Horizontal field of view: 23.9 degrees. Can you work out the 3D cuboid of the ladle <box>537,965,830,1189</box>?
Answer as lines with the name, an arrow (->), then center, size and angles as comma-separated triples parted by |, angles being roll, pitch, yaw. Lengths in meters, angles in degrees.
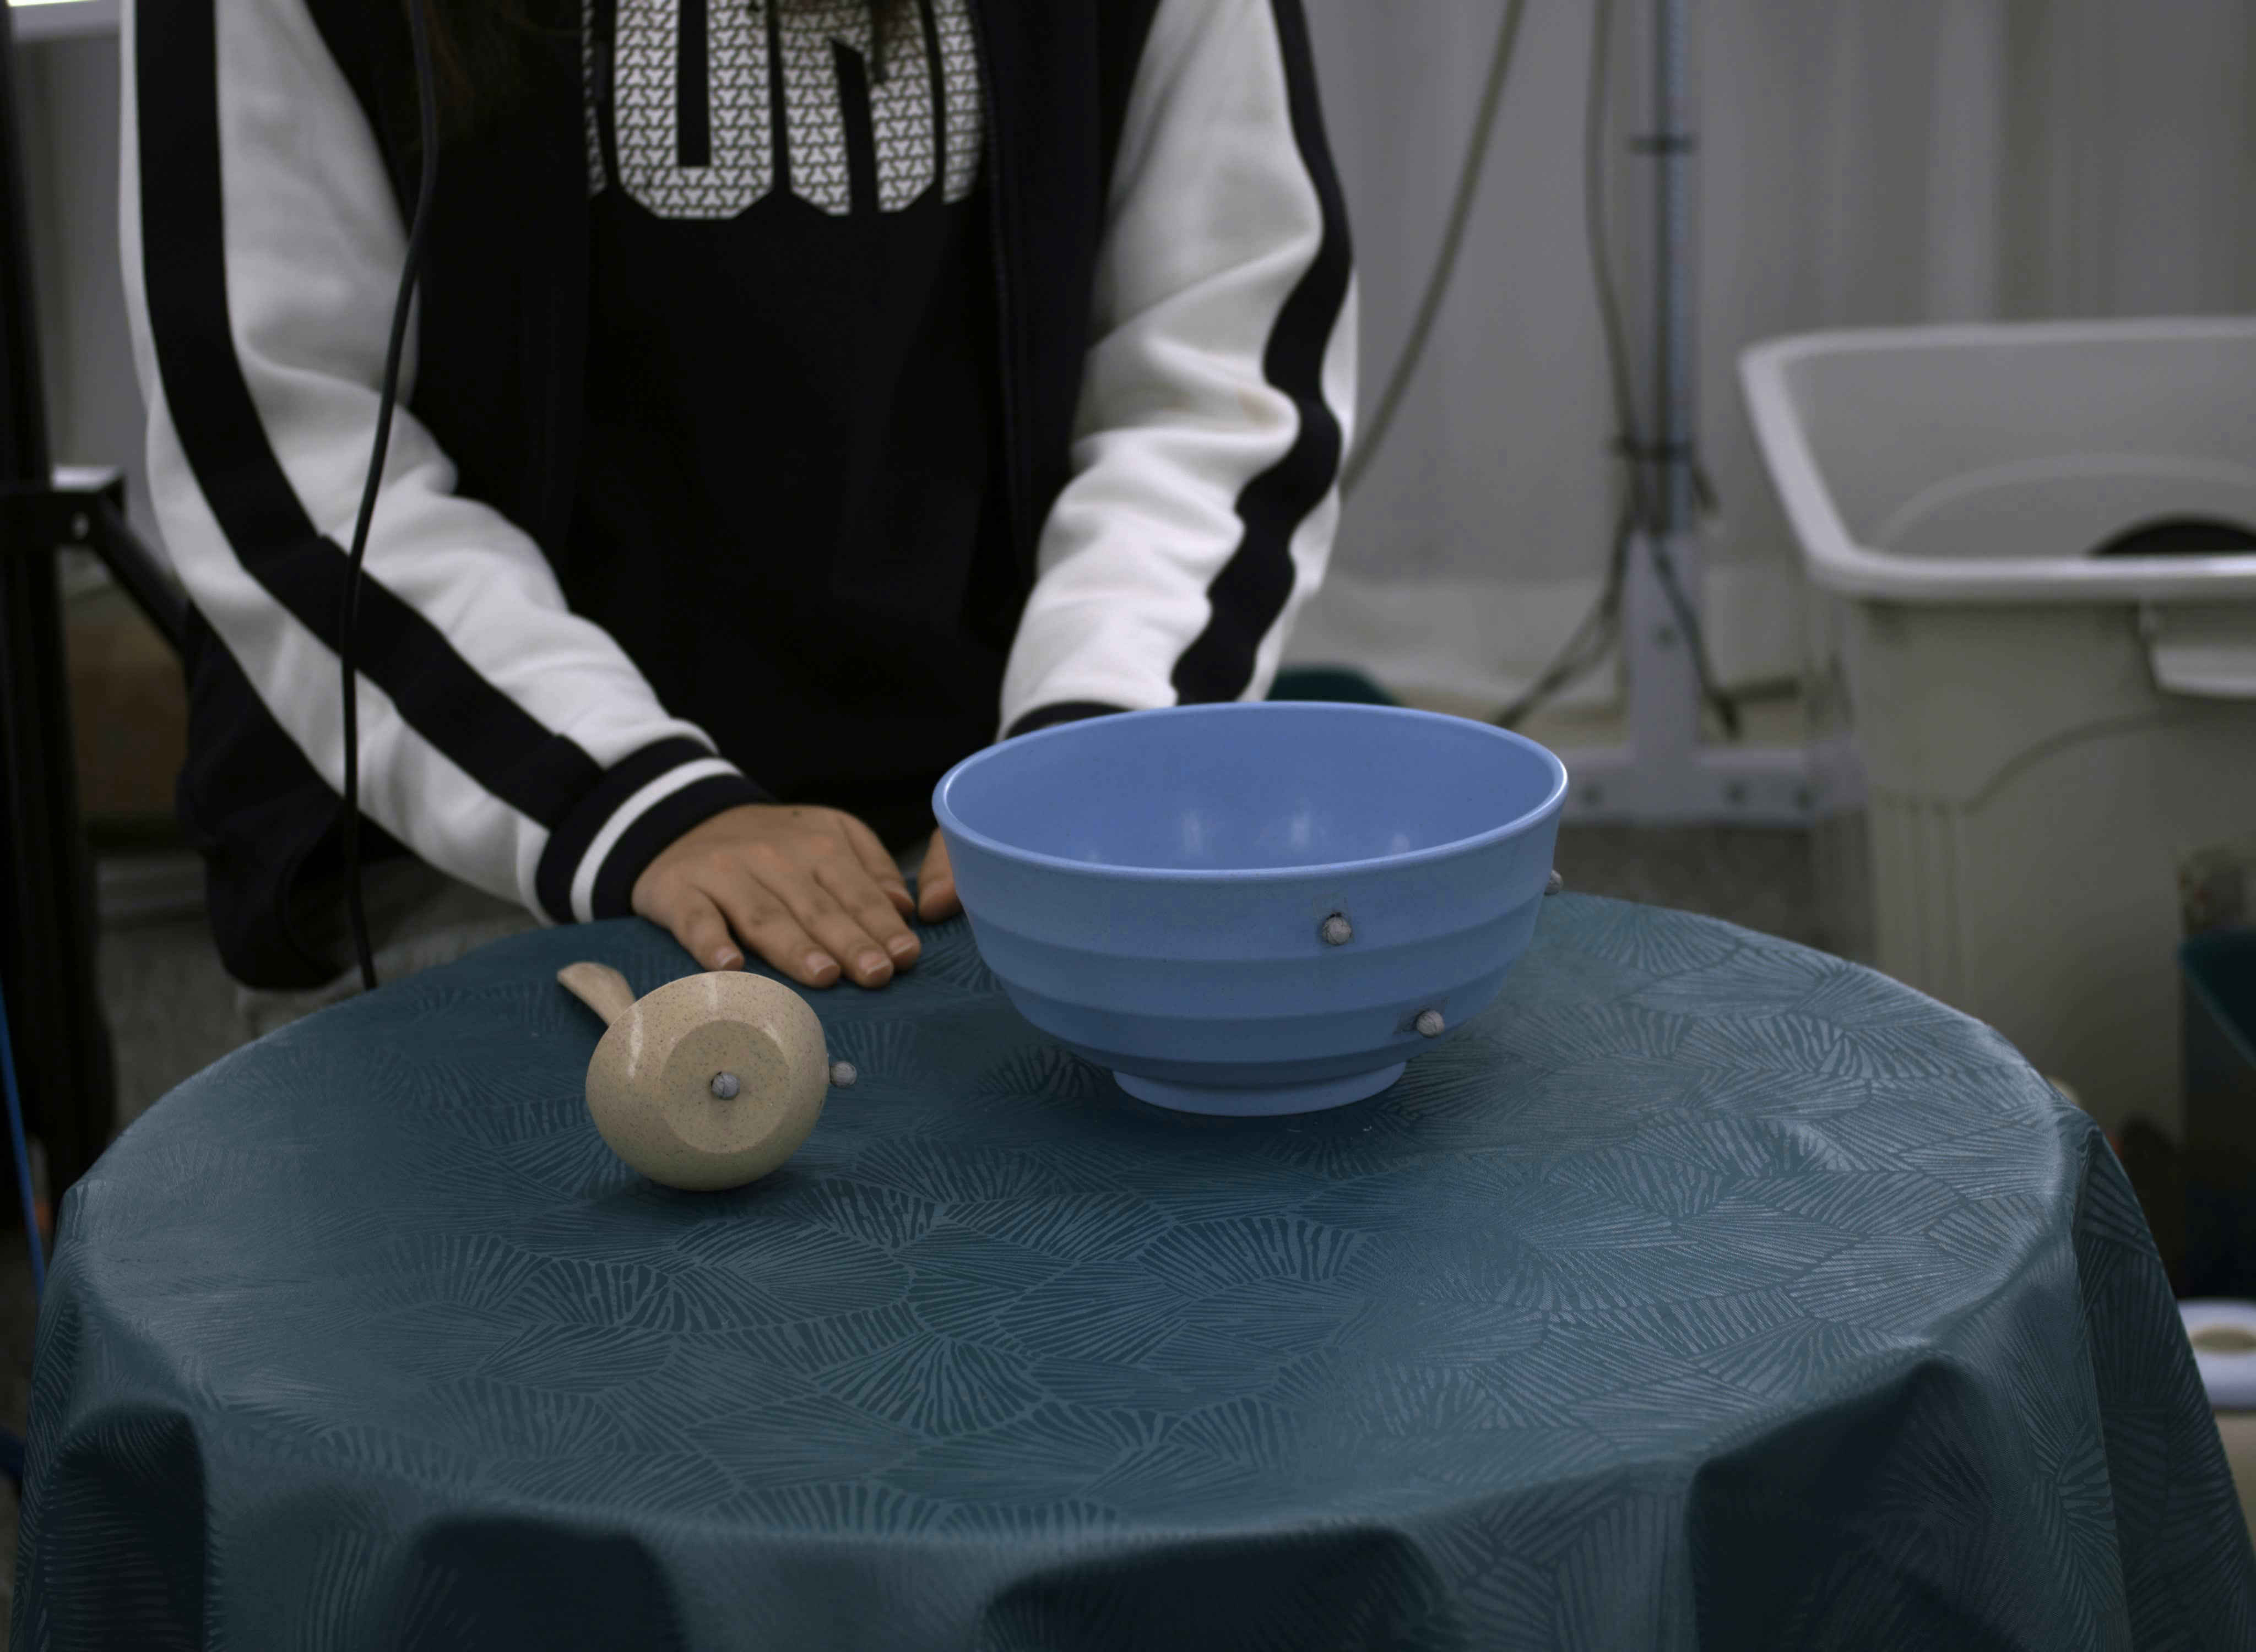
ladle -> -0.153, 0.048, 1.662 | 0.071, 0.073, 0.258 | -6, 16, -16

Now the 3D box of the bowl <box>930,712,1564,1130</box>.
bowl -> 0.039, 0.035, 1.649 | 0.195, 0.095, 0.197 | -4, 15, 0
